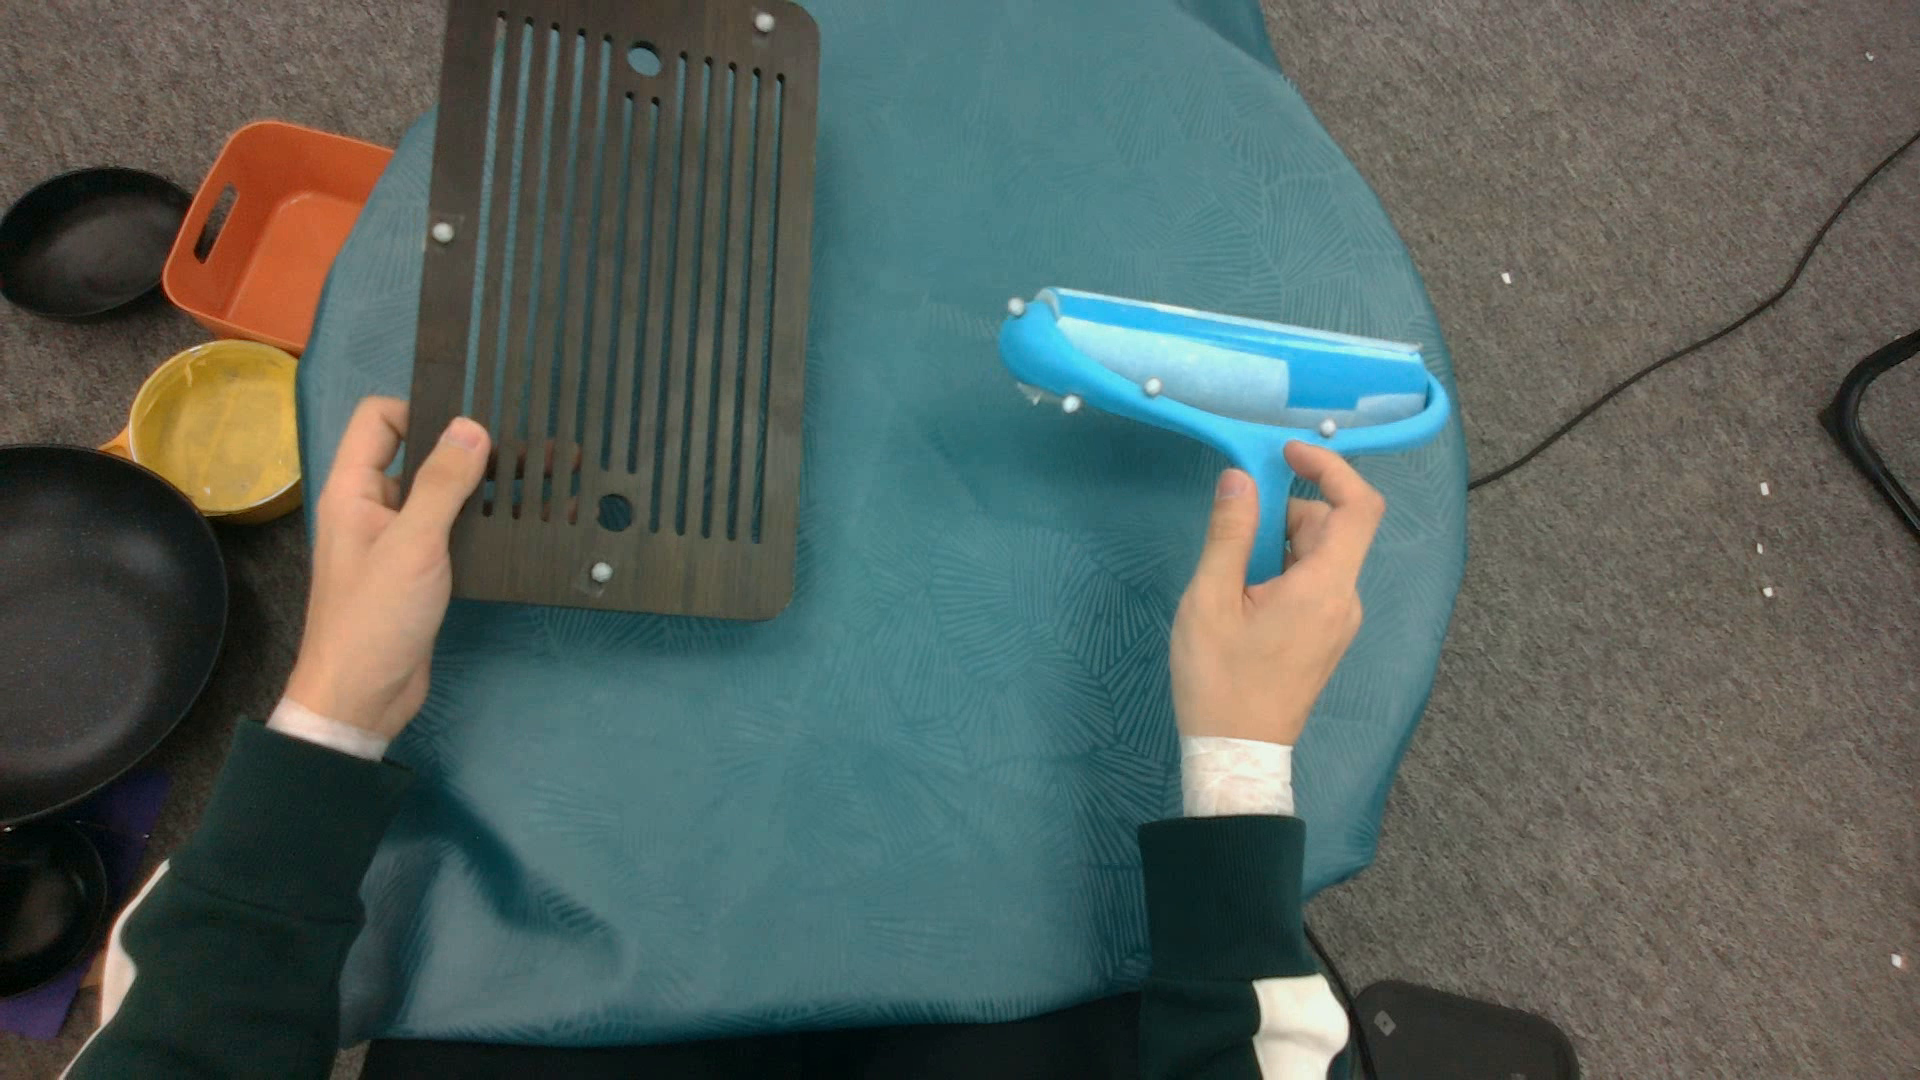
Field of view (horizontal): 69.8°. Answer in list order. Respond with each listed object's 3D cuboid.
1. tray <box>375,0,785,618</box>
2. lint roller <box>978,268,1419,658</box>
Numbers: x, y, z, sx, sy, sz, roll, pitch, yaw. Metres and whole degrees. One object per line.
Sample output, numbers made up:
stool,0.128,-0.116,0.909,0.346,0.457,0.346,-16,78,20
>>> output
tray,-0.168,-0.118,0.636,0.170,0.018,0.306,4,78,-21
lint roller,0.124,-0.039,0.649,0.229,0.067,0.181,4,64,-20
